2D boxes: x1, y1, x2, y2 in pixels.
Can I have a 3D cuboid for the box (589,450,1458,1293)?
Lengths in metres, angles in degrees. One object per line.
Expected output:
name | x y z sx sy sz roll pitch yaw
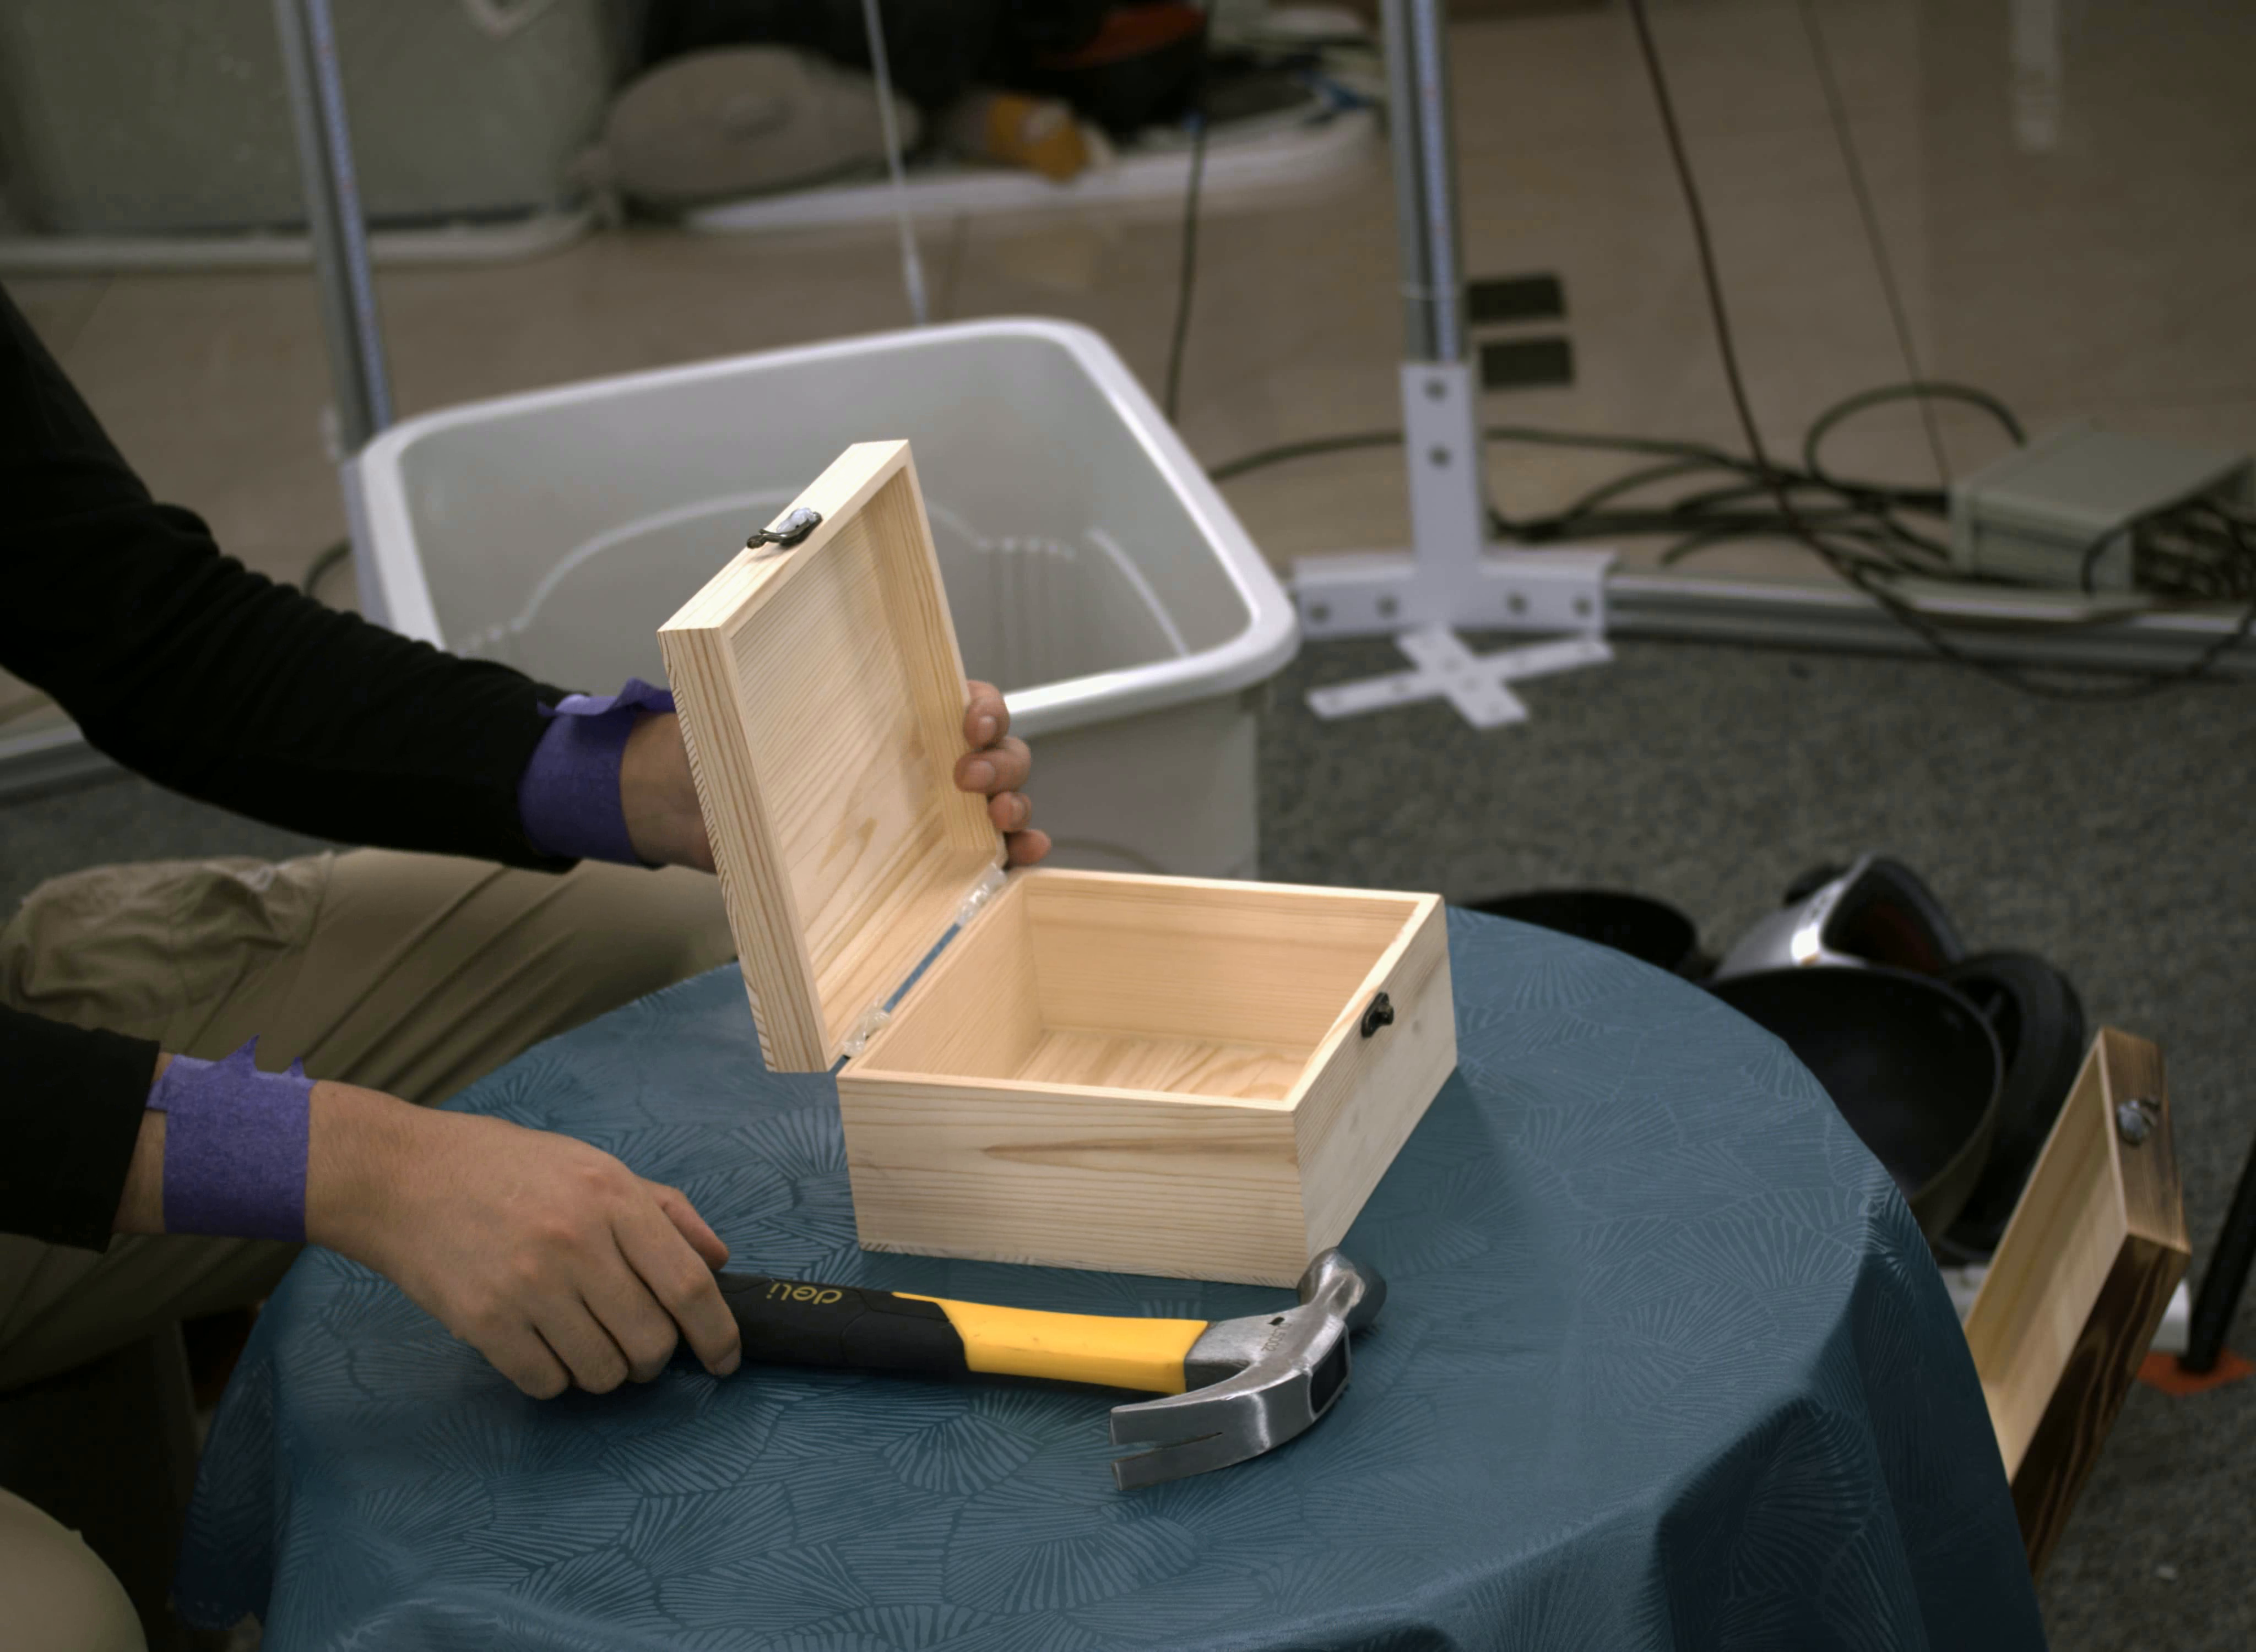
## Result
box | -0.029 0.013 2.129 0.264 0.257 0.179 4 29 20

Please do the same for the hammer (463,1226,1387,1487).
hammer | -0.085 0.177 2.044 0.337 0.033 0.129 6 27 21
